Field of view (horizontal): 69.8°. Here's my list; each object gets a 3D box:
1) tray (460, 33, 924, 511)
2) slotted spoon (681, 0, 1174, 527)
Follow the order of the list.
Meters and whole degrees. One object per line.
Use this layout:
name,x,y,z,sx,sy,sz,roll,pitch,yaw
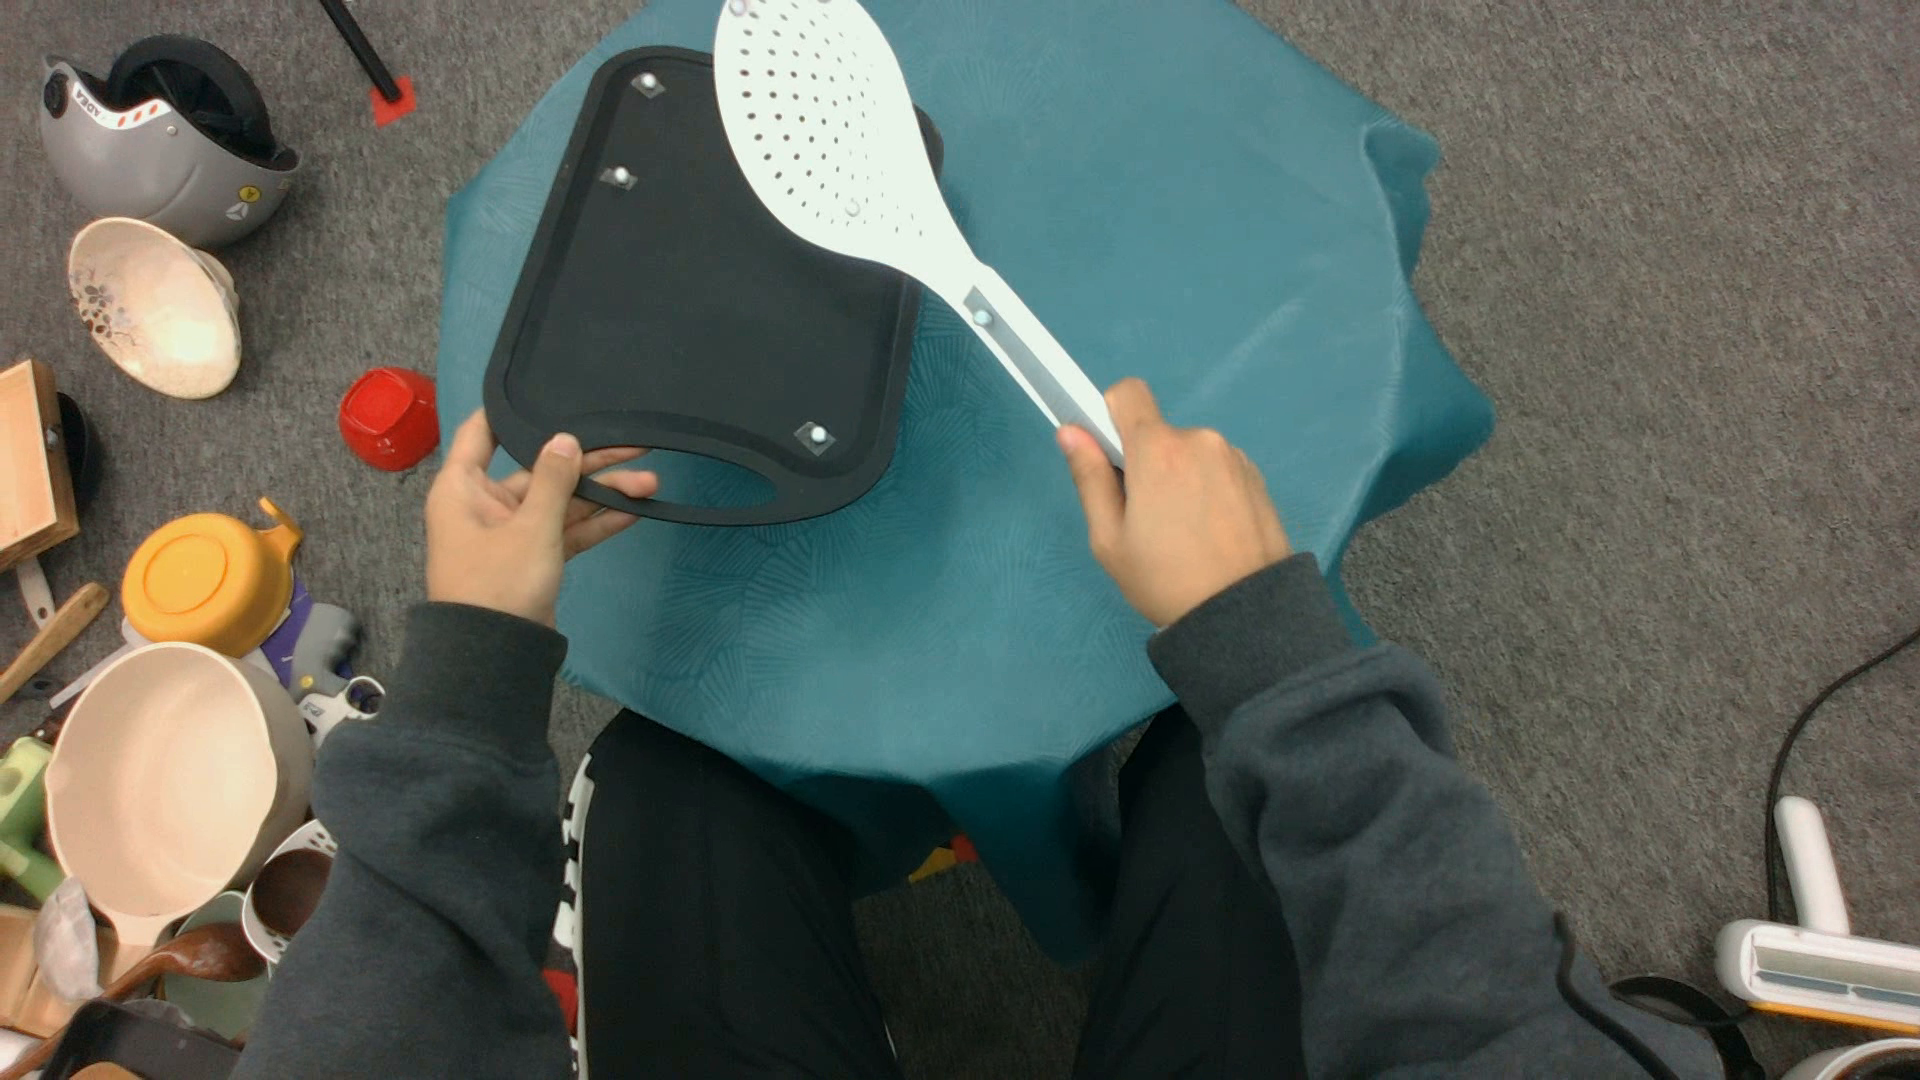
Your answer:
tray,-0.136,-0.156,0.751,0.211,0.010,0.327,11,58,-6
slotted spoon,-0.019,-0.144,0.663,0.046,0.135,0.350,-28,75,-34
